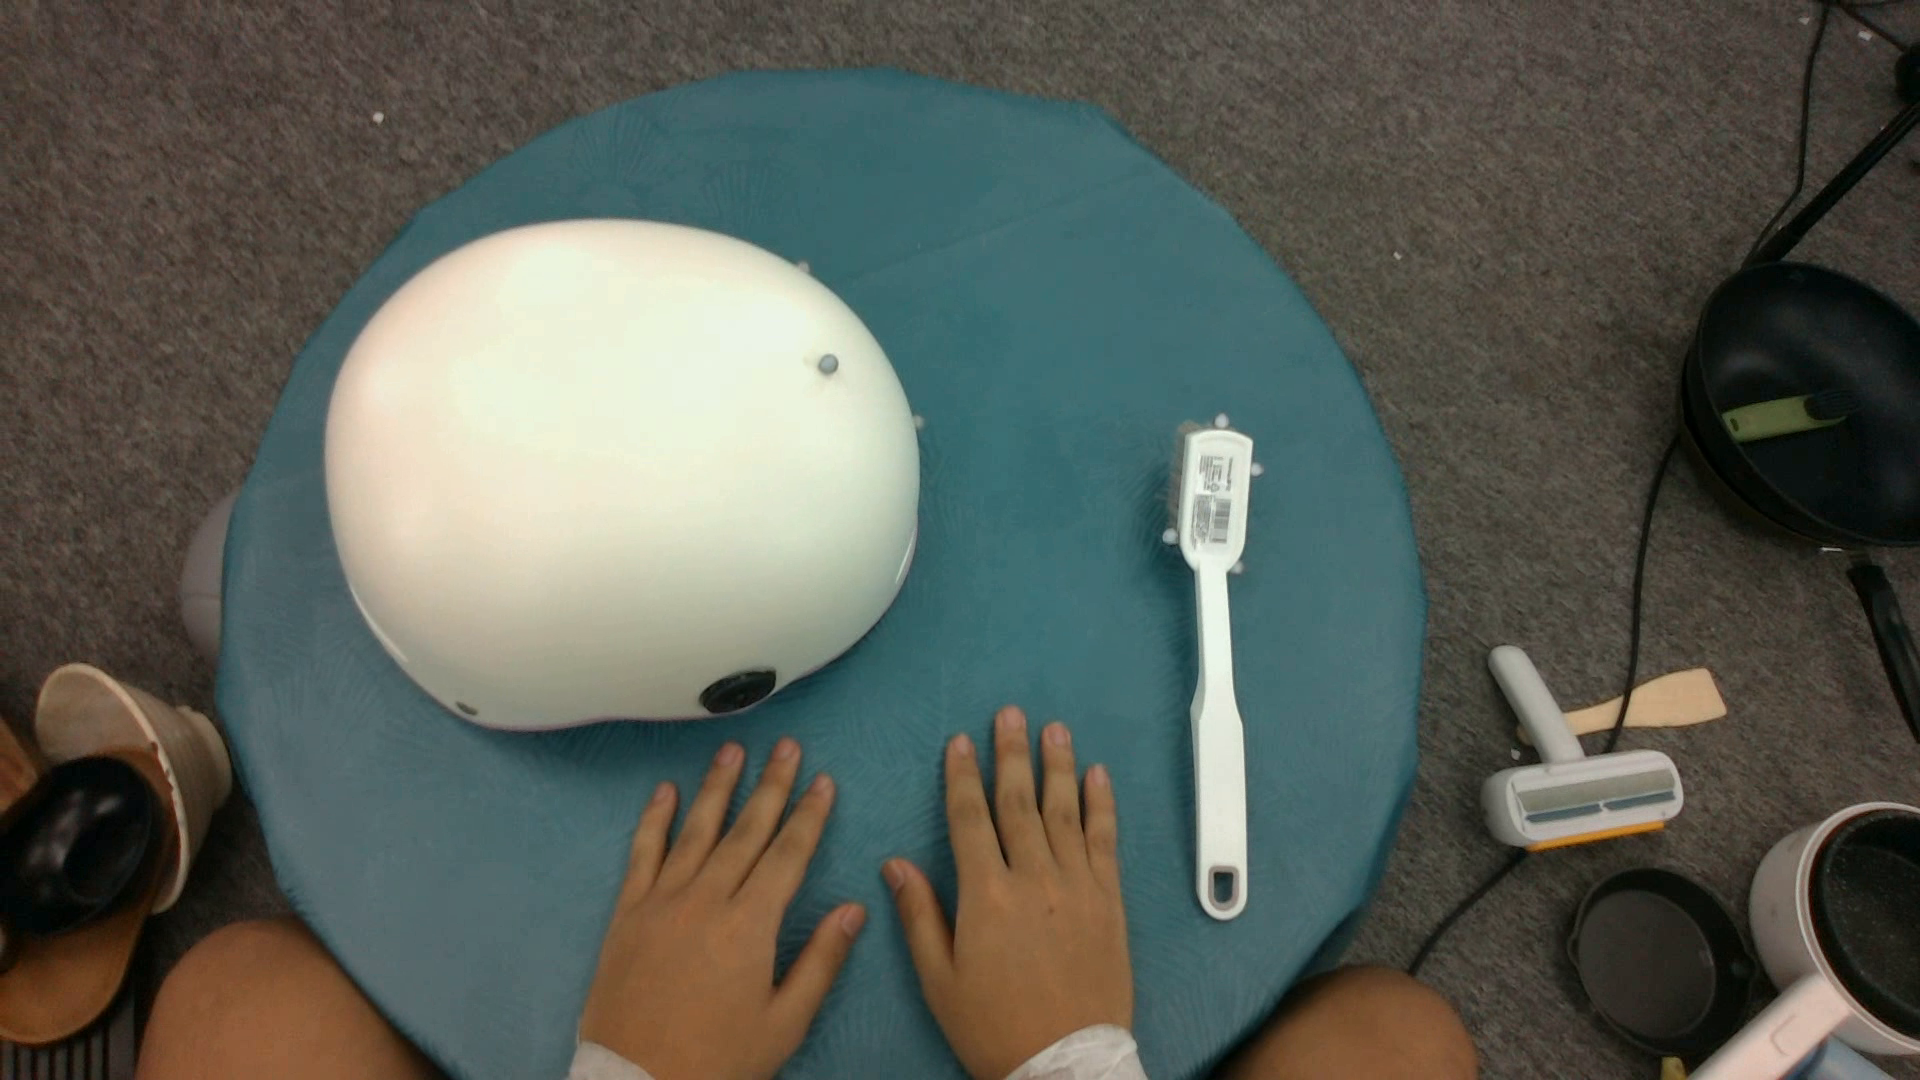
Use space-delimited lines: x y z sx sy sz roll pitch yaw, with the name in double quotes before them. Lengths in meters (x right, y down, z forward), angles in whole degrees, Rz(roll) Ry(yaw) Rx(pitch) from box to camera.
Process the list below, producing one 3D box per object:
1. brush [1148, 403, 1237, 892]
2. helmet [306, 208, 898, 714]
"brush" 0.116 0.048 0.685 0.034 0.050 0.244 1 80 -6
"helmet" -0.157 -0.051 0.619 0.269 0.166 0.237 -11 68 -11
